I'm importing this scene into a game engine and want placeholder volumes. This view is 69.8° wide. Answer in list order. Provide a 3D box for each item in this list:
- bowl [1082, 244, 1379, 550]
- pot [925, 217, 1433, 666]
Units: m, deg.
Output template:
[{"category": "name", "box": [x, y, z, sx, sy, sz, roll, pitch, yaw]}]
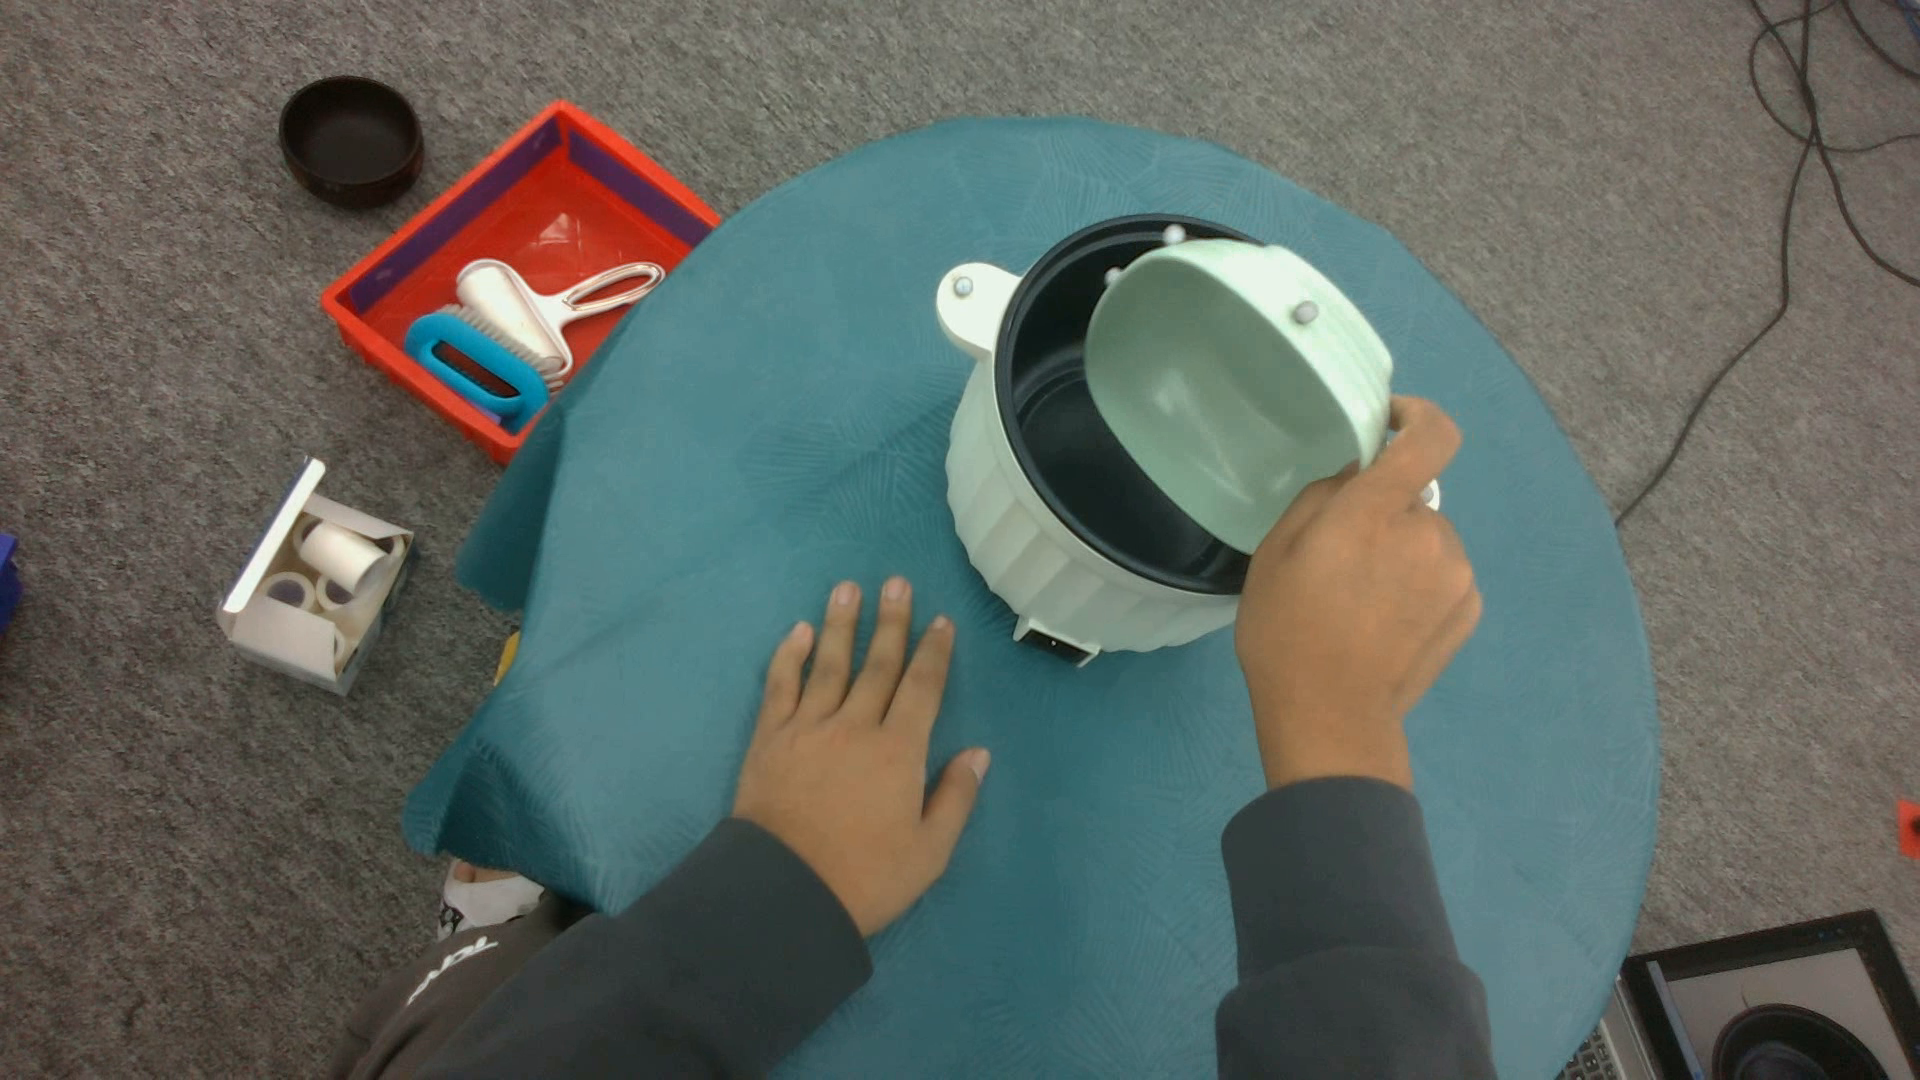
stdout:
[{"category": "bowl", "box": [0.126, -0.071, 0.600, 0.151, 0.151, 0.059, 46, 67, 7]}, {"category": "pot", "box": [0.086, -0.046, 0.665, 0.240, 0.142, 0.191, 19, 68, -8]}]
